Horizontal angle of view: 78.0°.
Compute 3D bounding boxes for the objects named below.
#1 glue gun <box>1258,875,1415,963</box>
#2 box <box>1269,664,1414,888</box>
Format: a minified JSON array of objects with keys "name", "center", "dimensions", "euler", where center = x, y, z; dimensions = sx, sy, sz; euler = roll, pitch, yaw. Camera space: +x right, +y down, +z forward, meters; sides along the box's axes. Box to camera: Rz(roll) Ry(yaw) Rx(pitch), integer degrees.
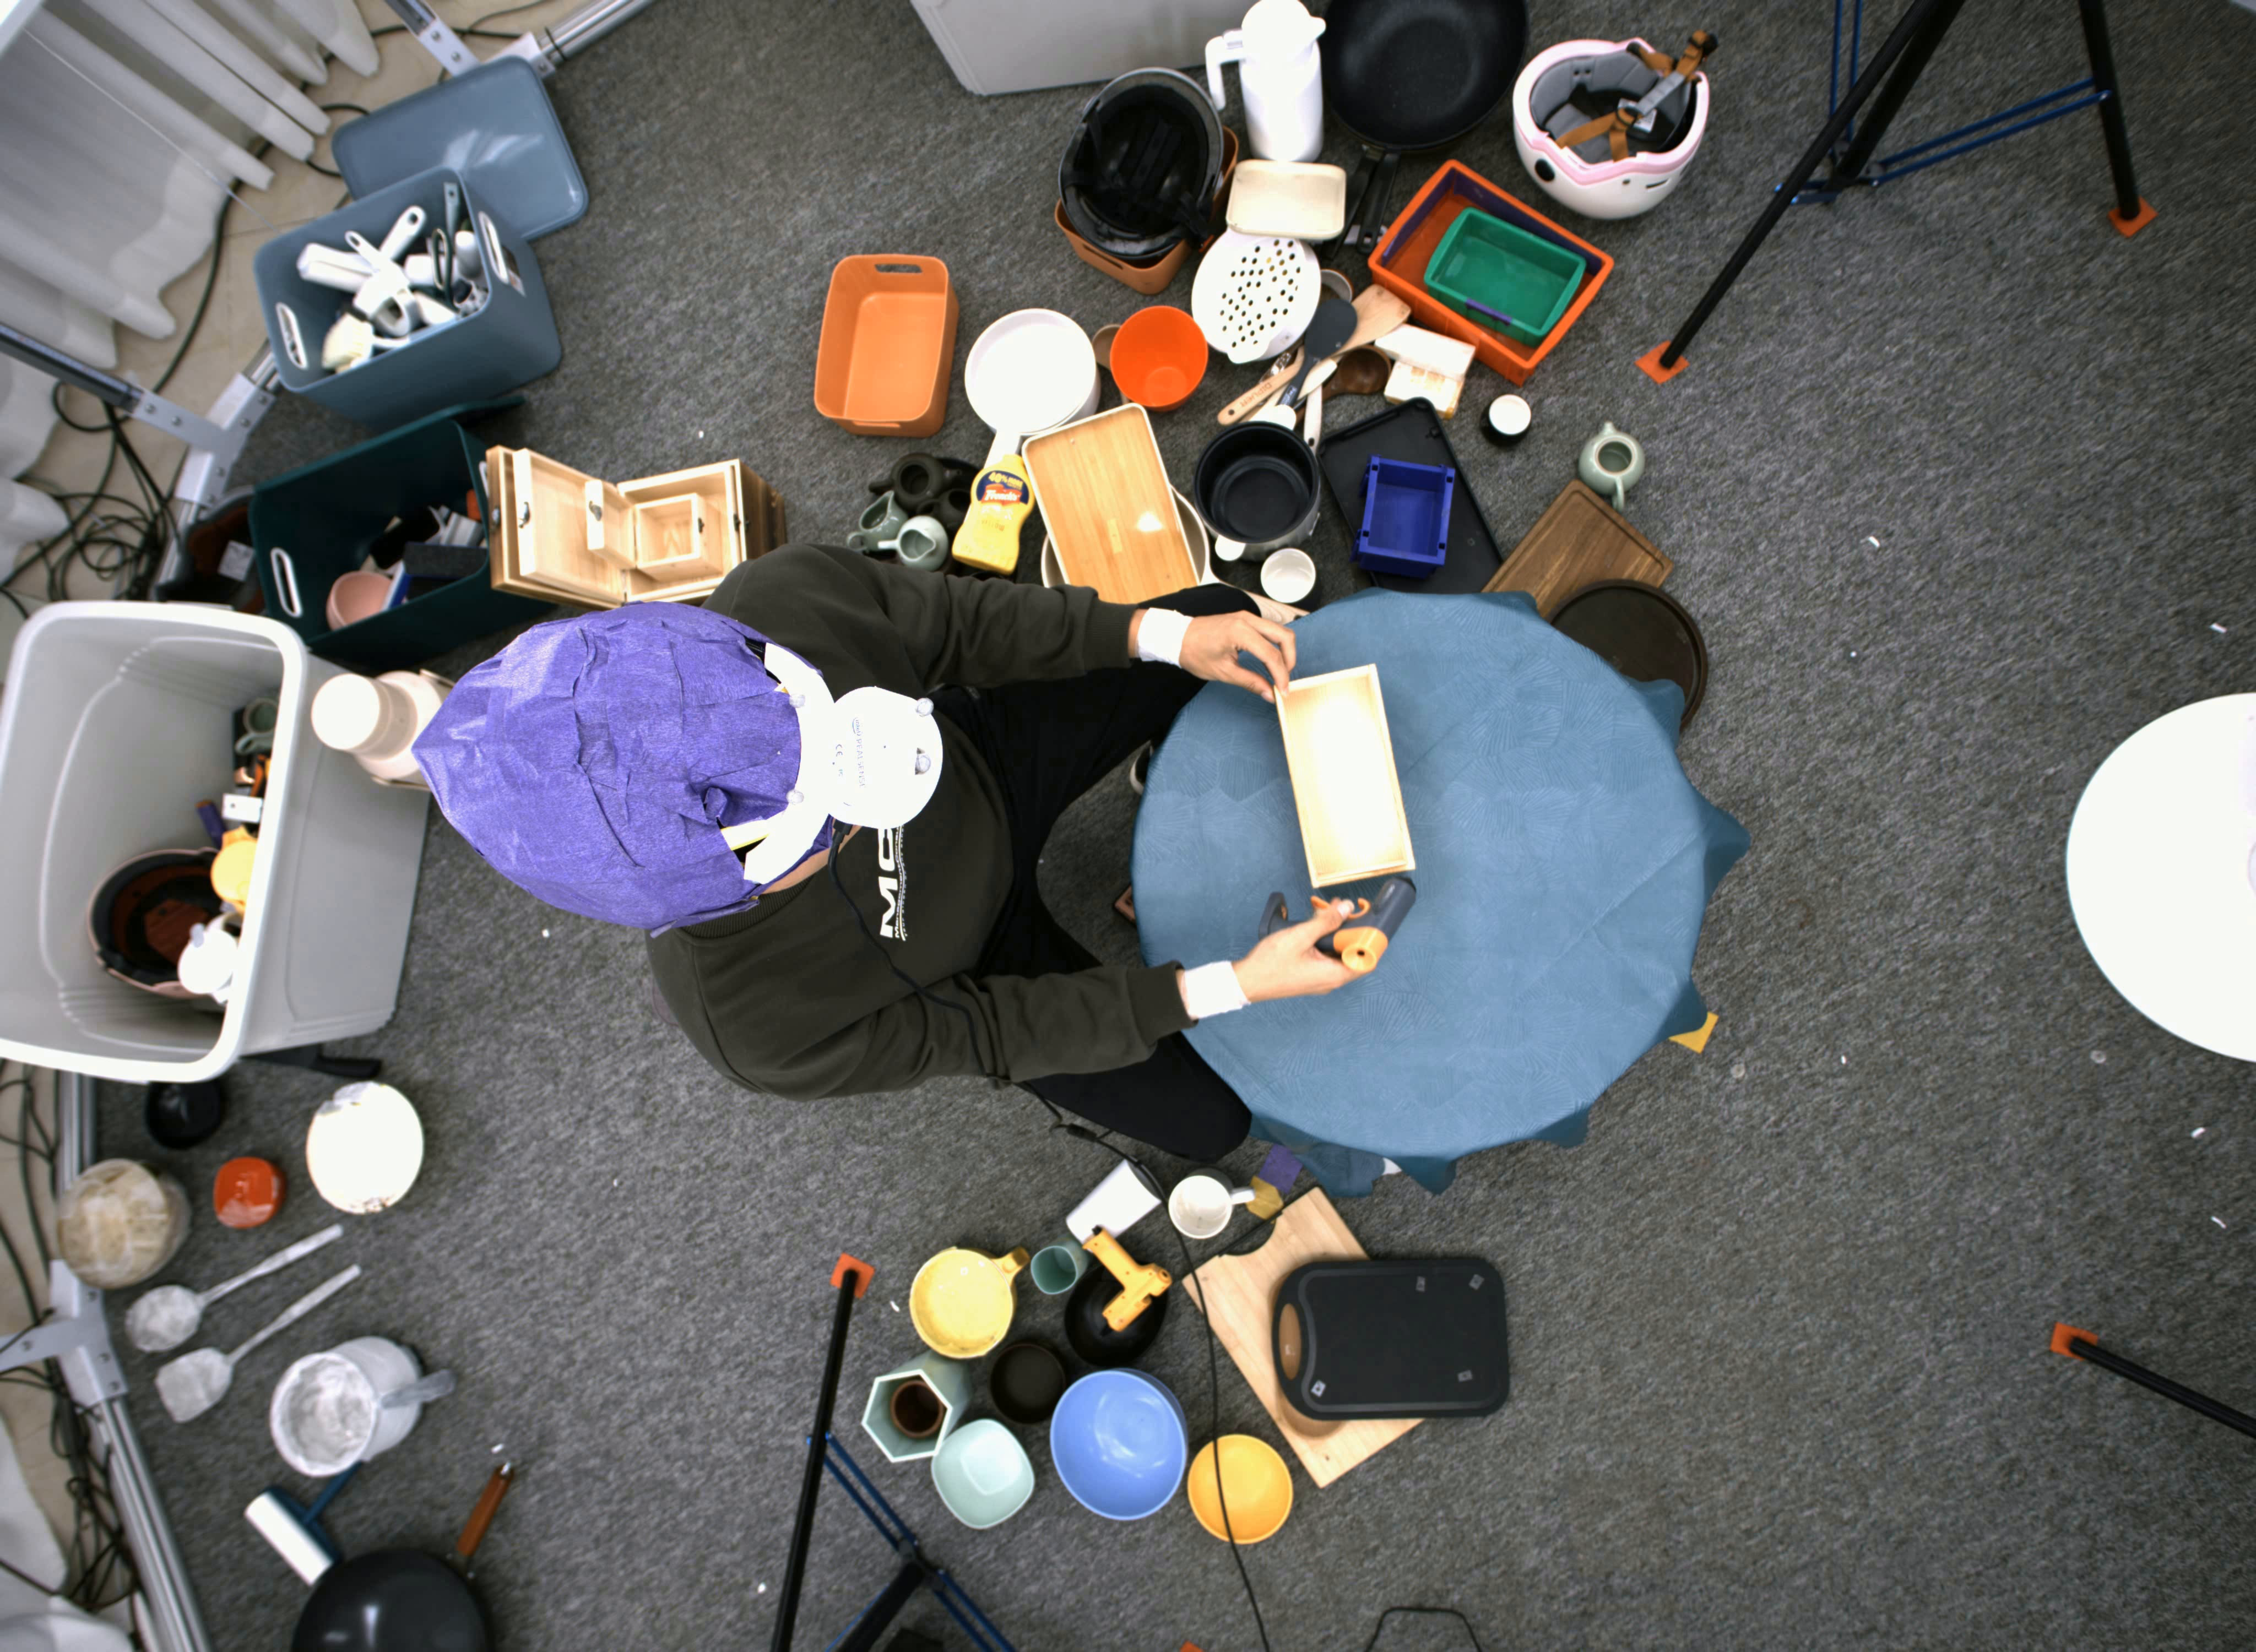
[{"name":"glue gun","center":[0.204,0.086,1.338],"dimensions":[0.141,0.115,0.042],"euler":[-4,121,23]},{"name":"box","center":[0.220,-0.052,1.421],"dimensions":[0.108,0.080,0.211],"euler":[-12,92,10]}]
